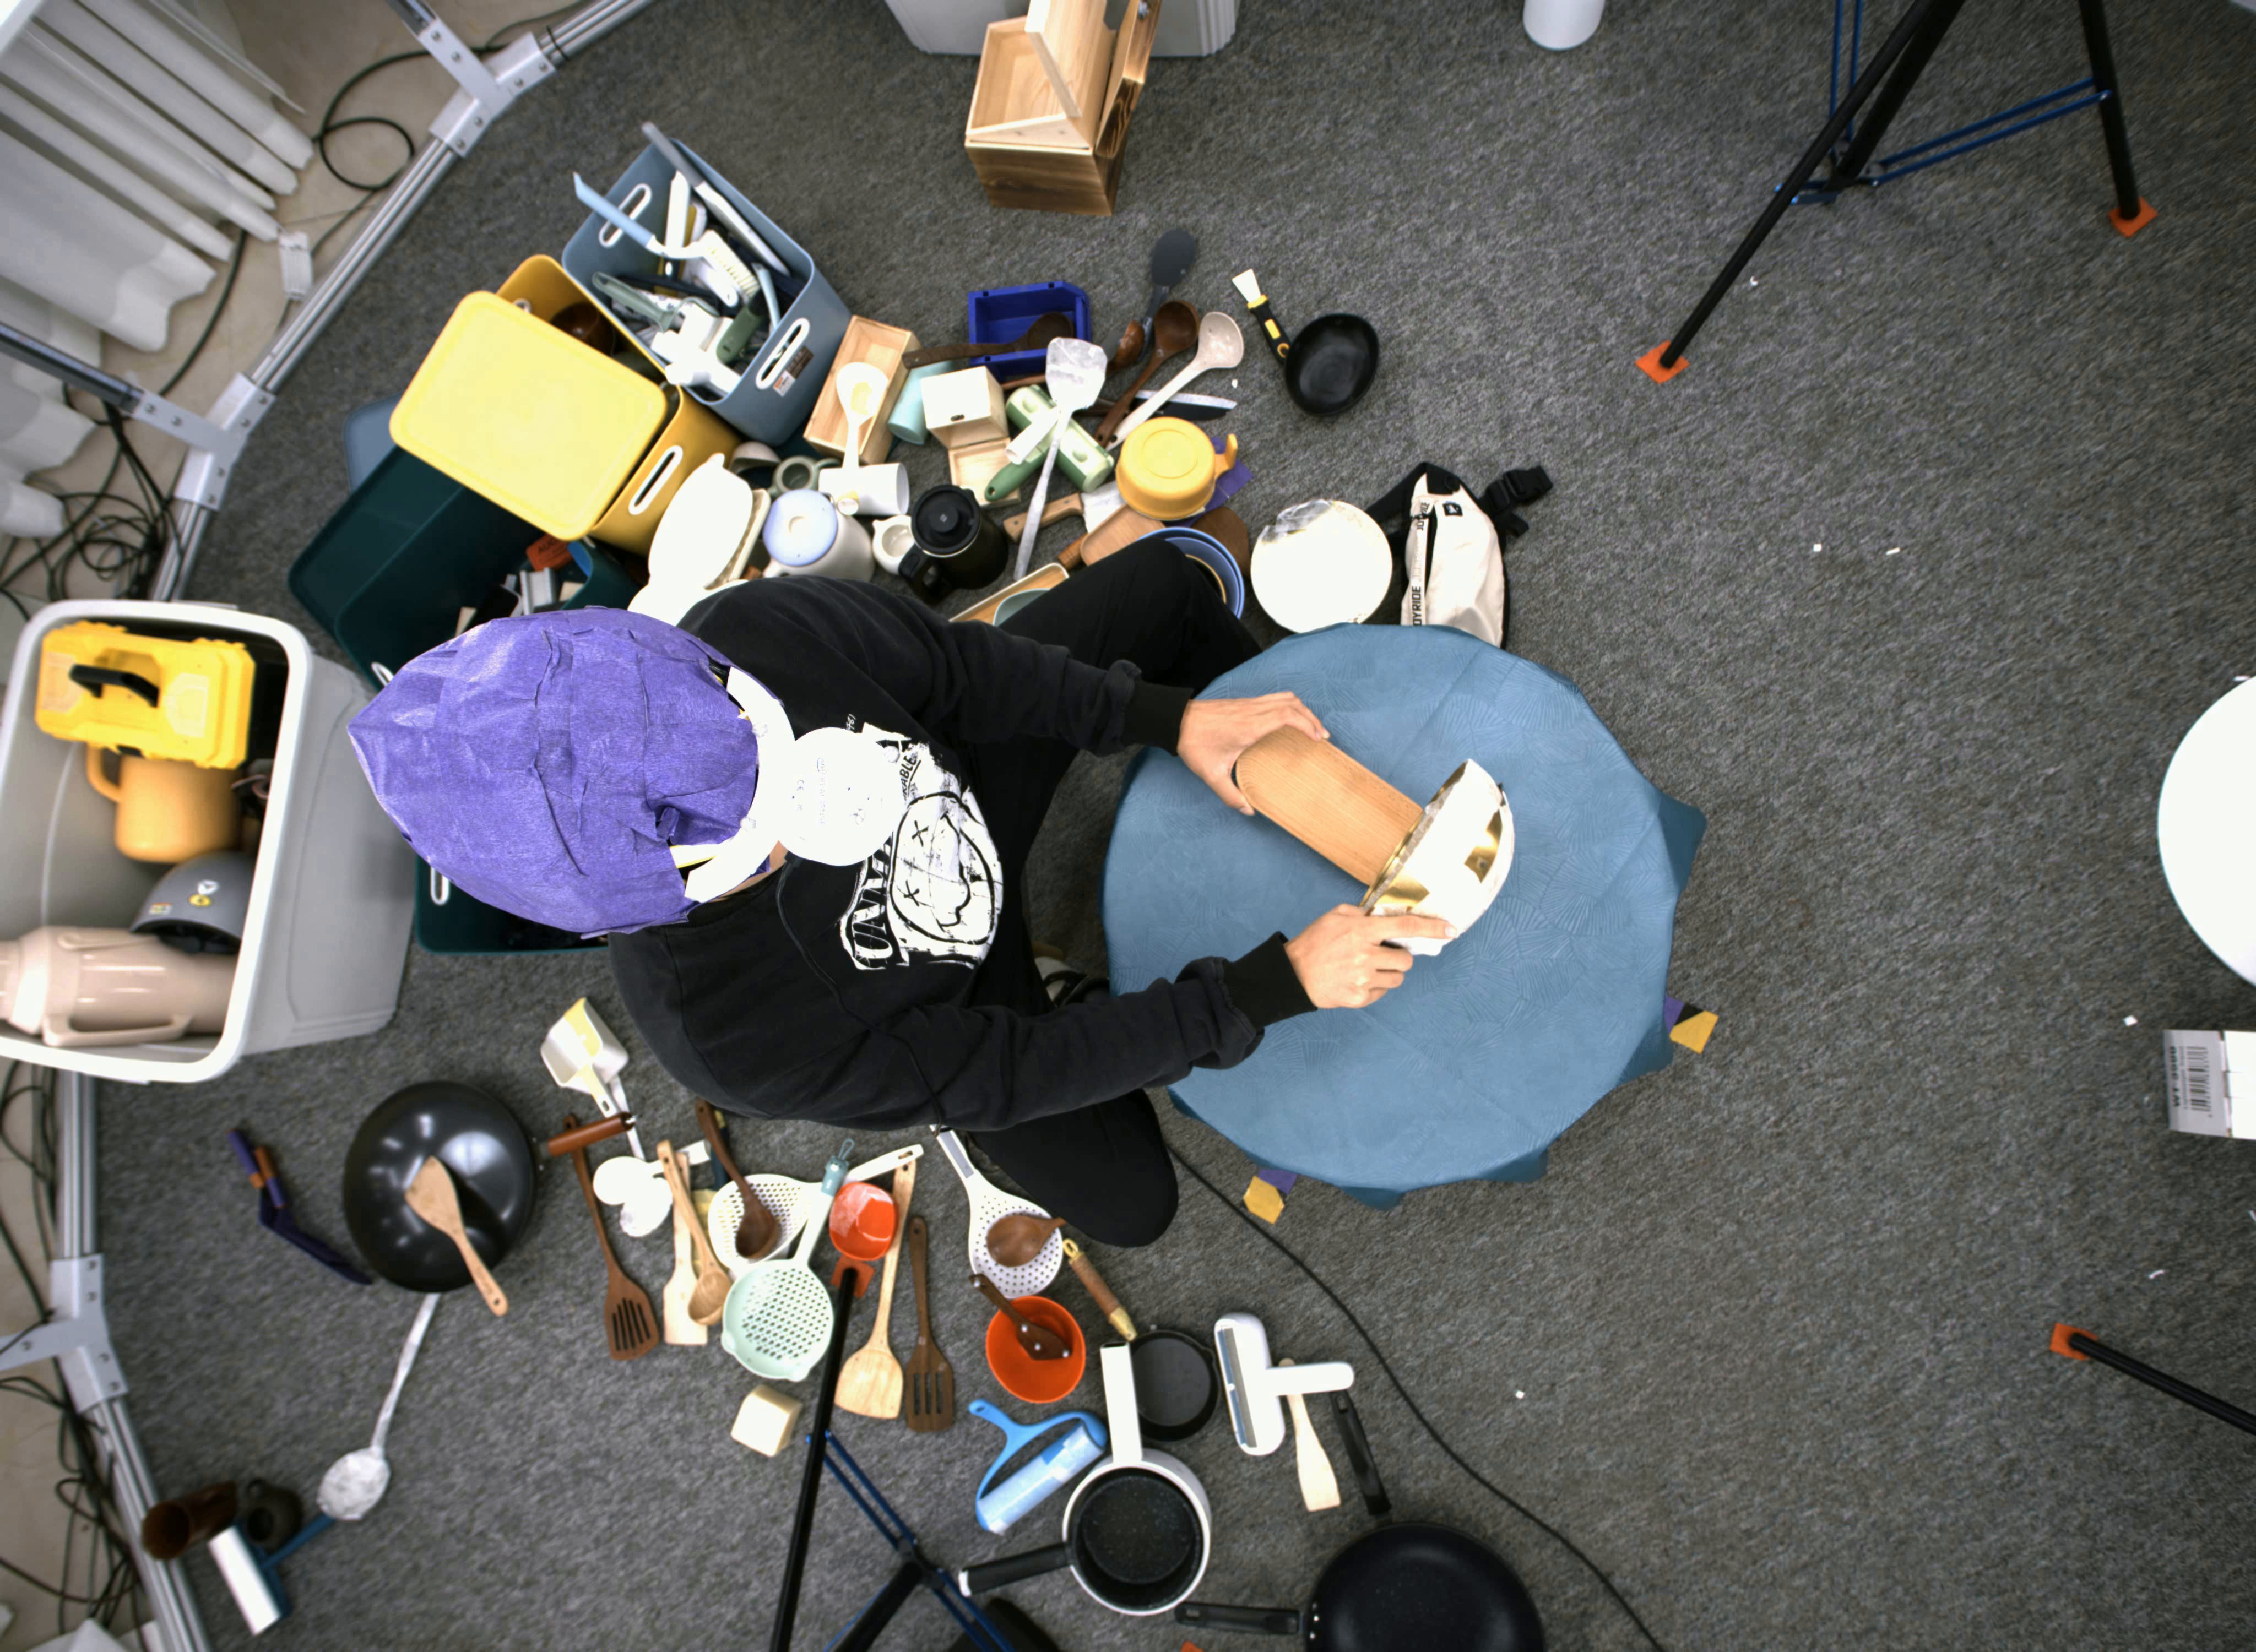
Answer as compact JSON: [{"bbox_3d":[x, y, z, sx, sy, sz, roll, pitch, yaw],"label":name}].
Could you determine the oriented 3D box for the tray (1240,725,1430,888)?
[{"bbox_3d":[0.221,-0.019,1.445,0.231,0.020,0.102,33,94,-5],"label":"tray"}]

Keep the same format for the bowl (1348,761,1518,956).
[{"bbox_3d":[0.299,0.046,1.292,0.094,0.214,0.215,35,91,4],"label":"bowl"}]
